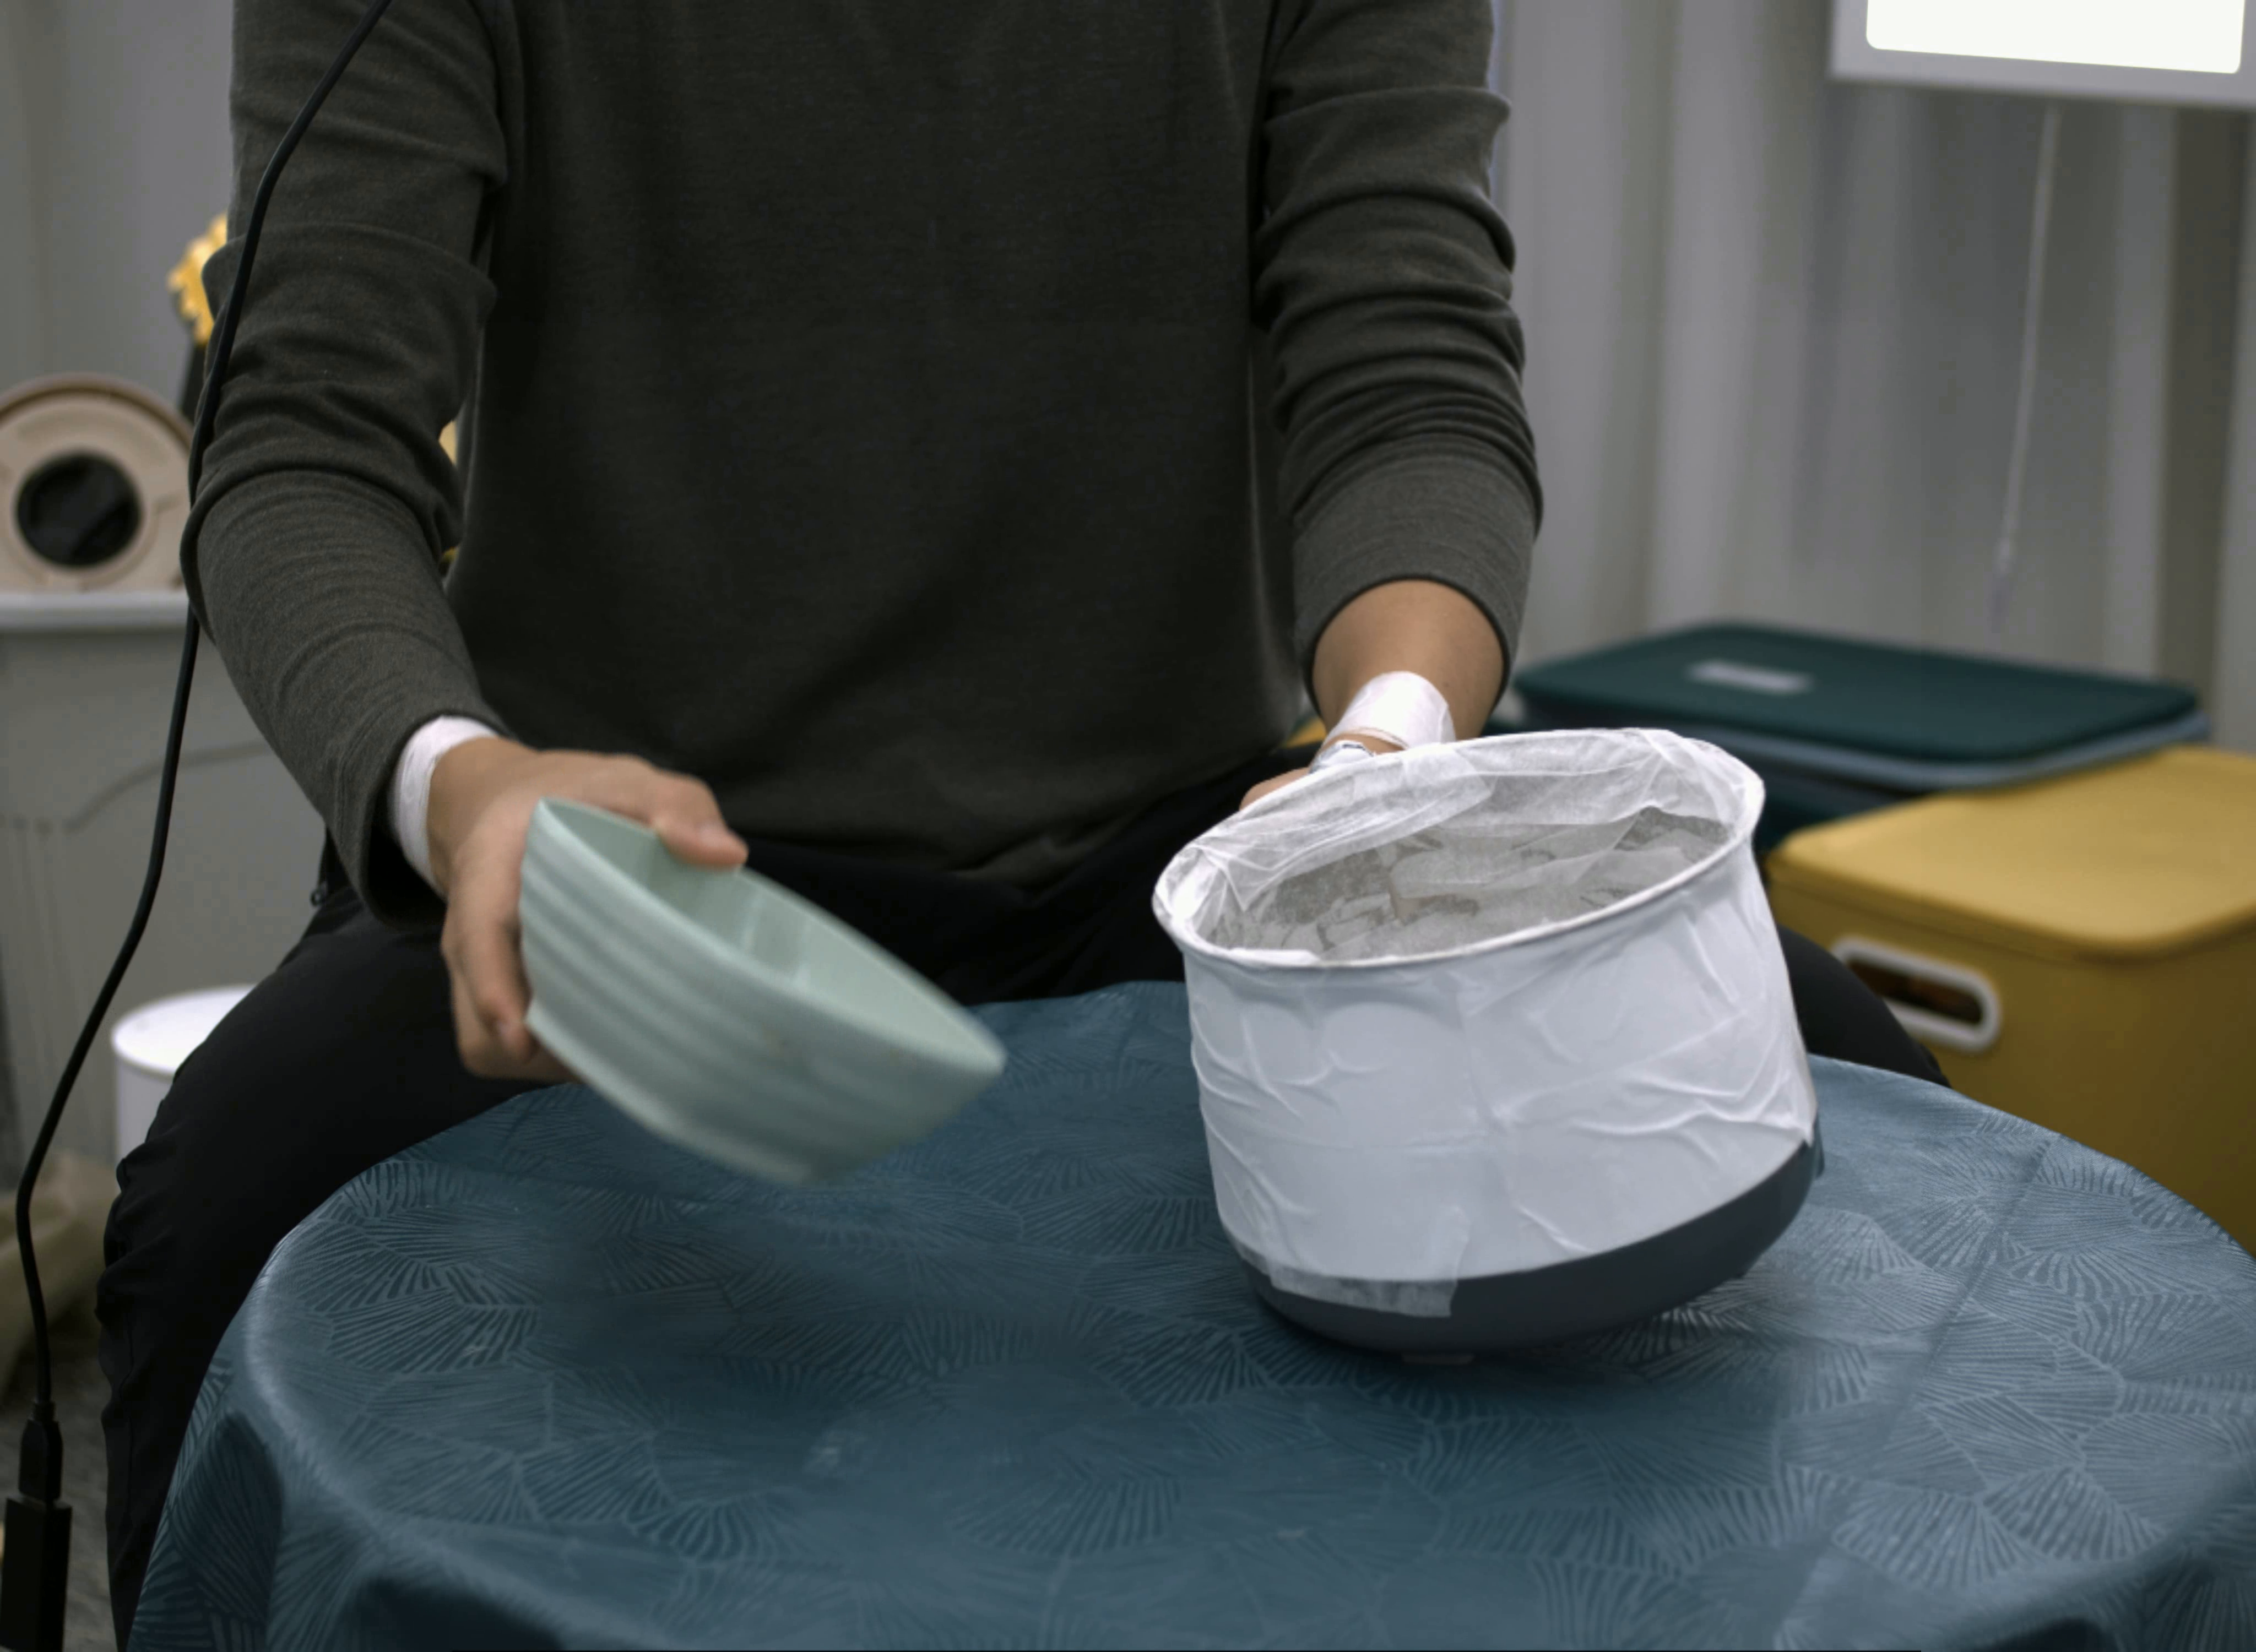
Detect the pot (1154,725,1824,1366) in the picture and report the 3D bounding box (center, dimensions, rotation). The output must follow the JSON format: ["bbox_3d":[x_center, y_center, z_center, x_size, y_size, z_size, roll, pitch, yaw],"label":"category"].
[{"bbox_3d":[0.097,0.055,1.539,0.179,0.138,0.231,-16,20,-14],"label":"pot"}]

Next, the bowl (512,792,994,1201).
[{"bbox_3d":[-0.115,0.055,1.470,0.151,0.059,0.151,33,10,-6],"label":"bowl"}]
